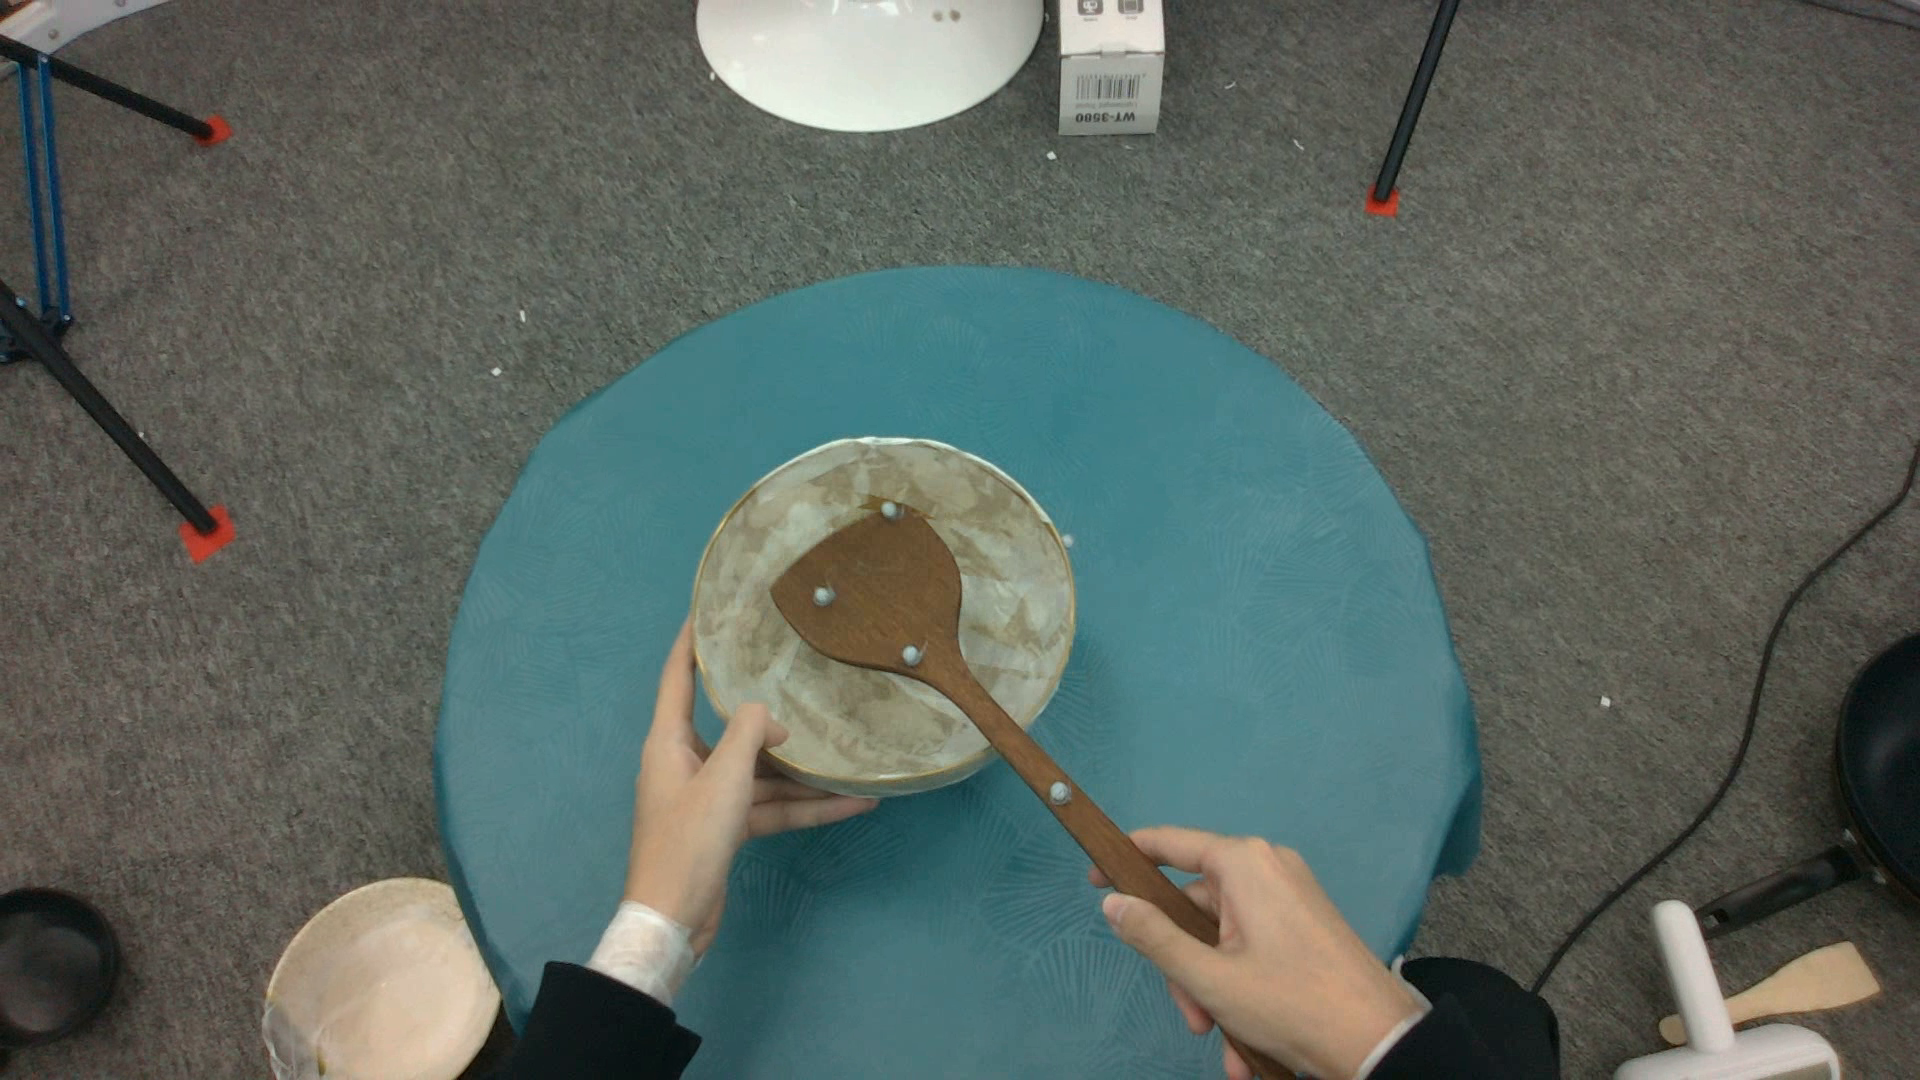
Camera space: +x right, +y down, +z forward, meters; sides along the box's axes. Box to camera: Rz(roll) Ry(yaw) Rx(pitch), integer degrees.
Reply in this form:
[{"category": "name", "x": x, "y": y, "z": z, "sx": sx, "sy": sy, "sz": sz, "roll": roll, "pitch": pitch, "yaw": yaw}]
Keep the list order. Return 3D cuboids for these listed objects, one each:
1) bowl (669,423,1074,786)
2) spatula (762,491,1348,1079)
[{"category": "bowl", "x": -0.048, "y": 0.048, "z": 0.745, "sx": 0.215, "sy": 0.094, "sz": 0.215, "roll": 1, "pitch": 61, "yaw": -2}, {"category": "spatula", "x": 0.034, "y": 0.102, "z": 0.638, "sx": 0.096, "sy": 0.016, "sz": 0.386, "roll": -33, "pitch": 52, "yaw": -16}]
